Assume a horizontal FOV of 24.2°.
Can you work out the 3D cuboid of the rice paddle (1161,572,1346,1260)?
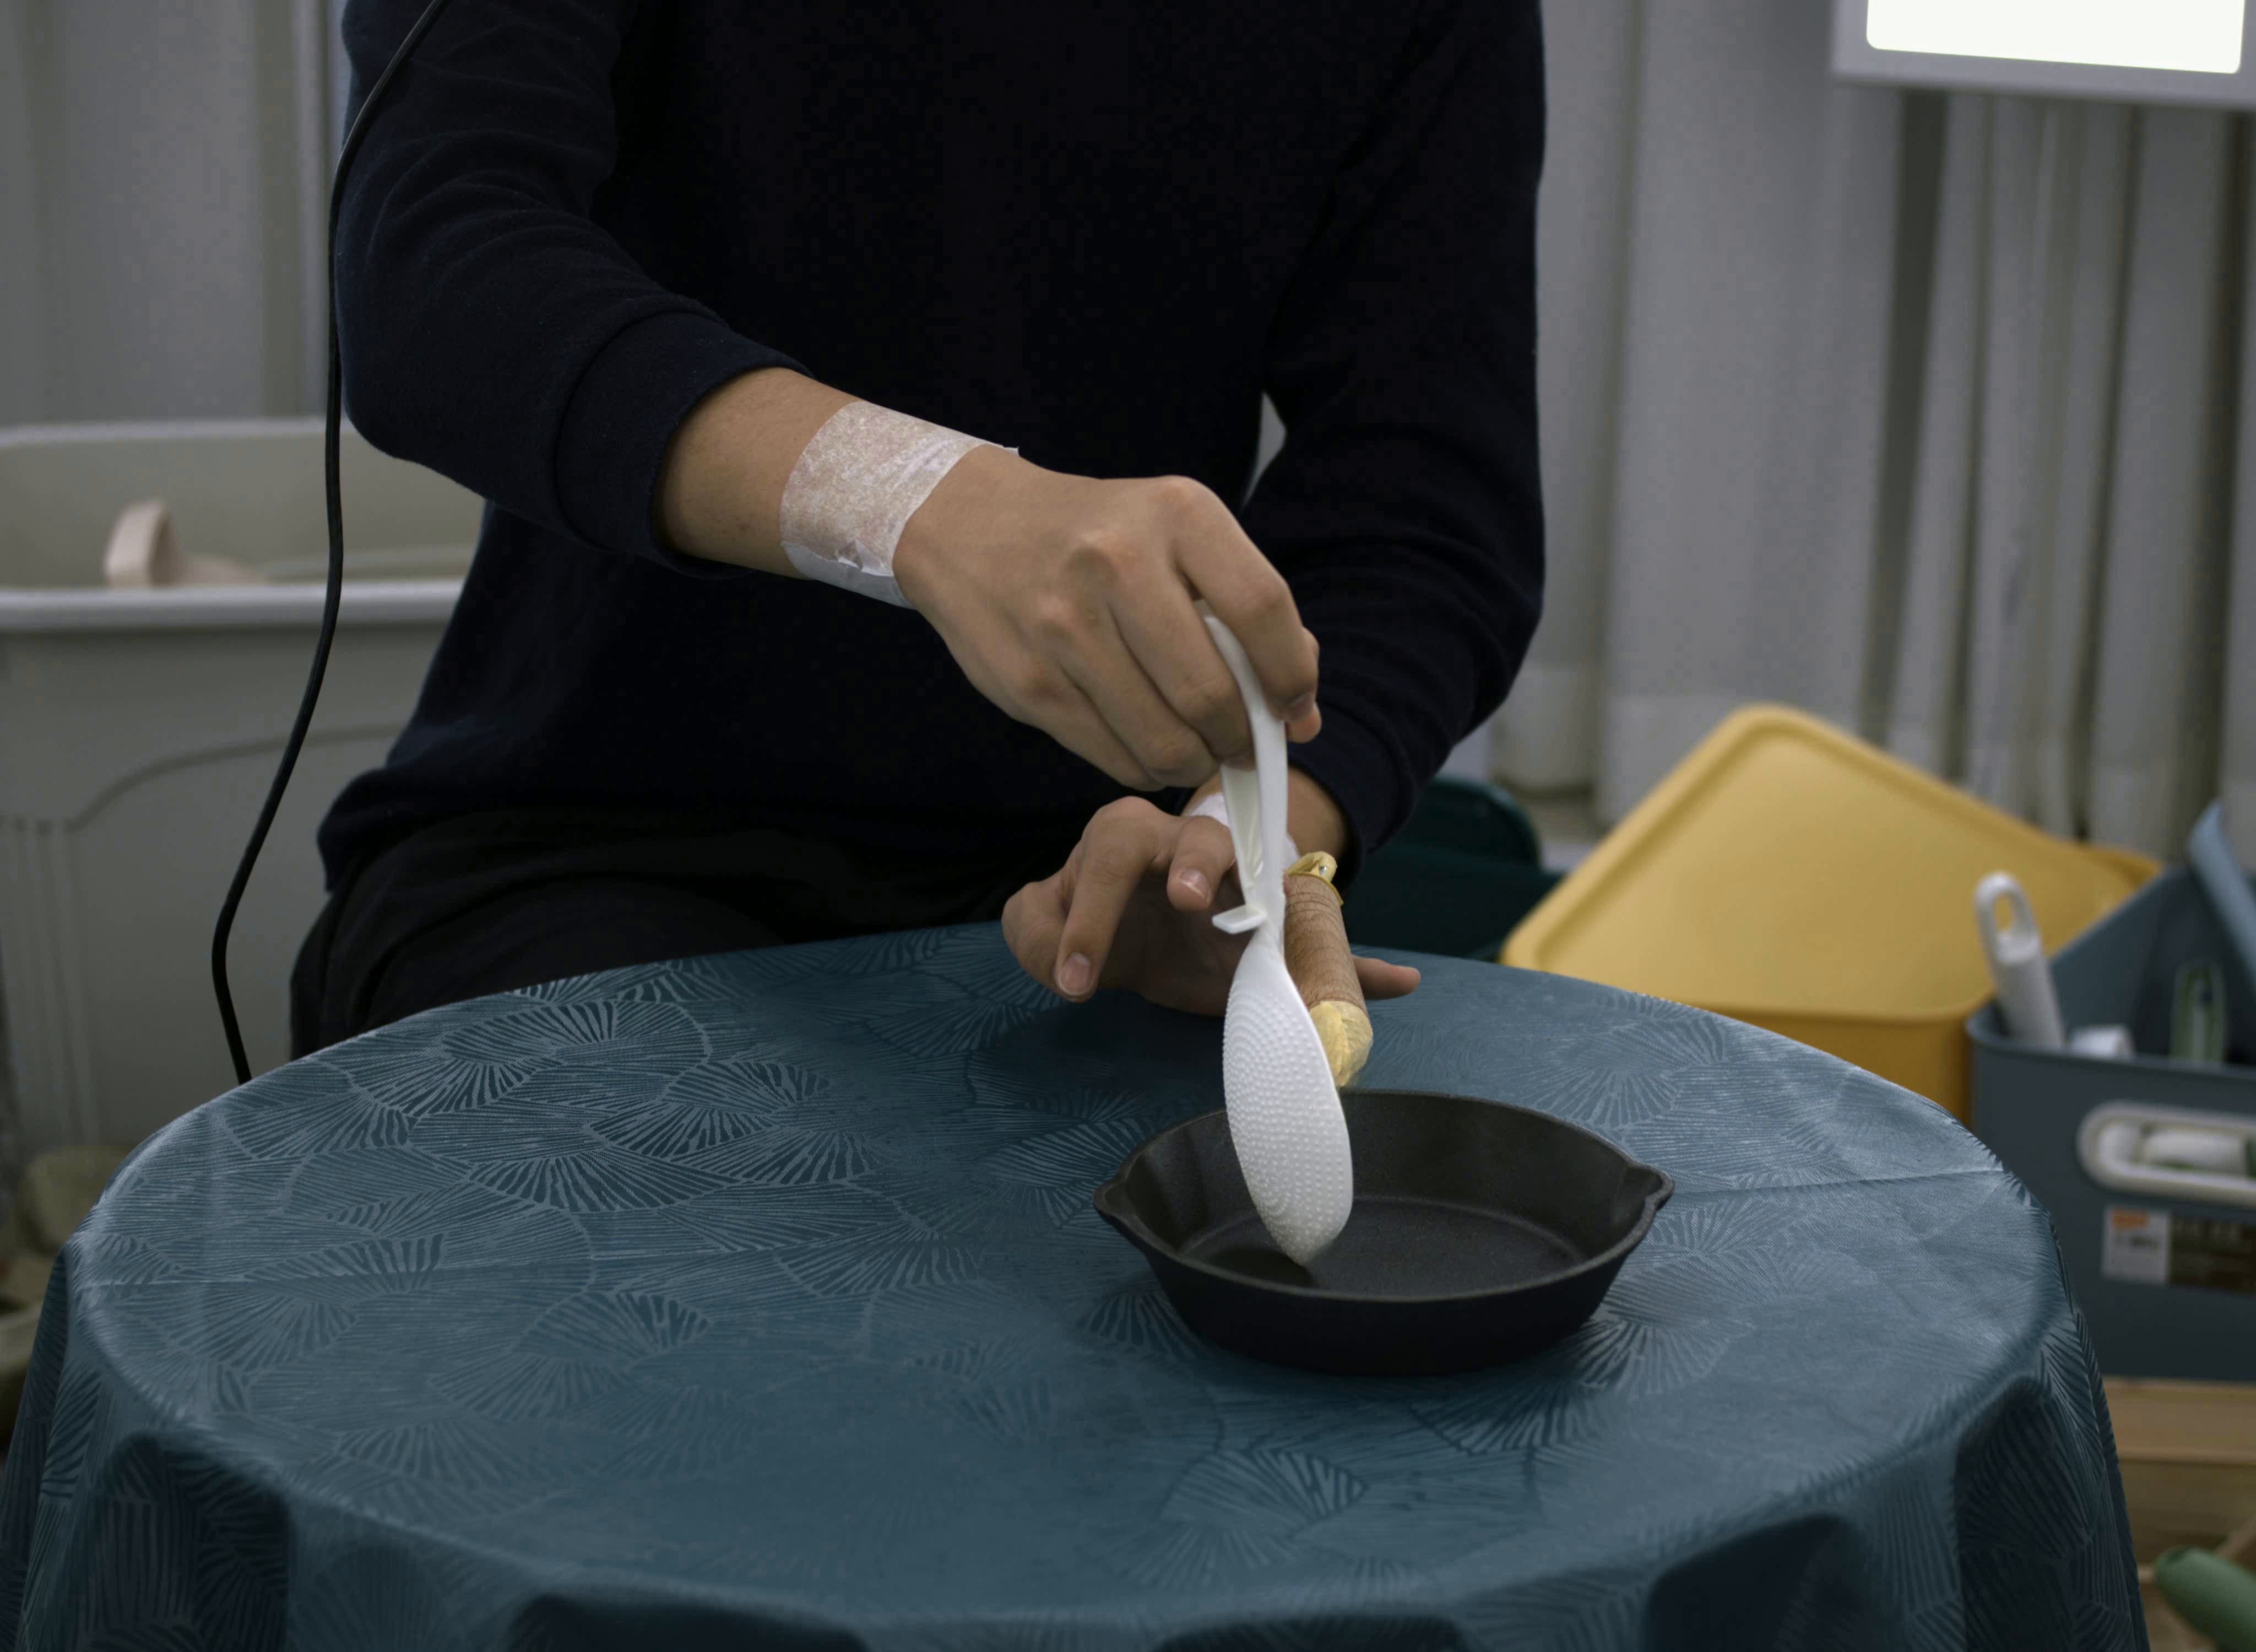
[{"bbox_3d":[0.038,0.029,1.511,0.029,0.207,0.068,-17,21,-23],"label":"rice paddle"}]

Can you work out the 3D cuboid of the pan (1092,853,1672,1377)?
[{"bbox_3d":[0.069,0.084,1.603,0.168,0.050,0.321,-1,20,-3],"label":"pan"}]
